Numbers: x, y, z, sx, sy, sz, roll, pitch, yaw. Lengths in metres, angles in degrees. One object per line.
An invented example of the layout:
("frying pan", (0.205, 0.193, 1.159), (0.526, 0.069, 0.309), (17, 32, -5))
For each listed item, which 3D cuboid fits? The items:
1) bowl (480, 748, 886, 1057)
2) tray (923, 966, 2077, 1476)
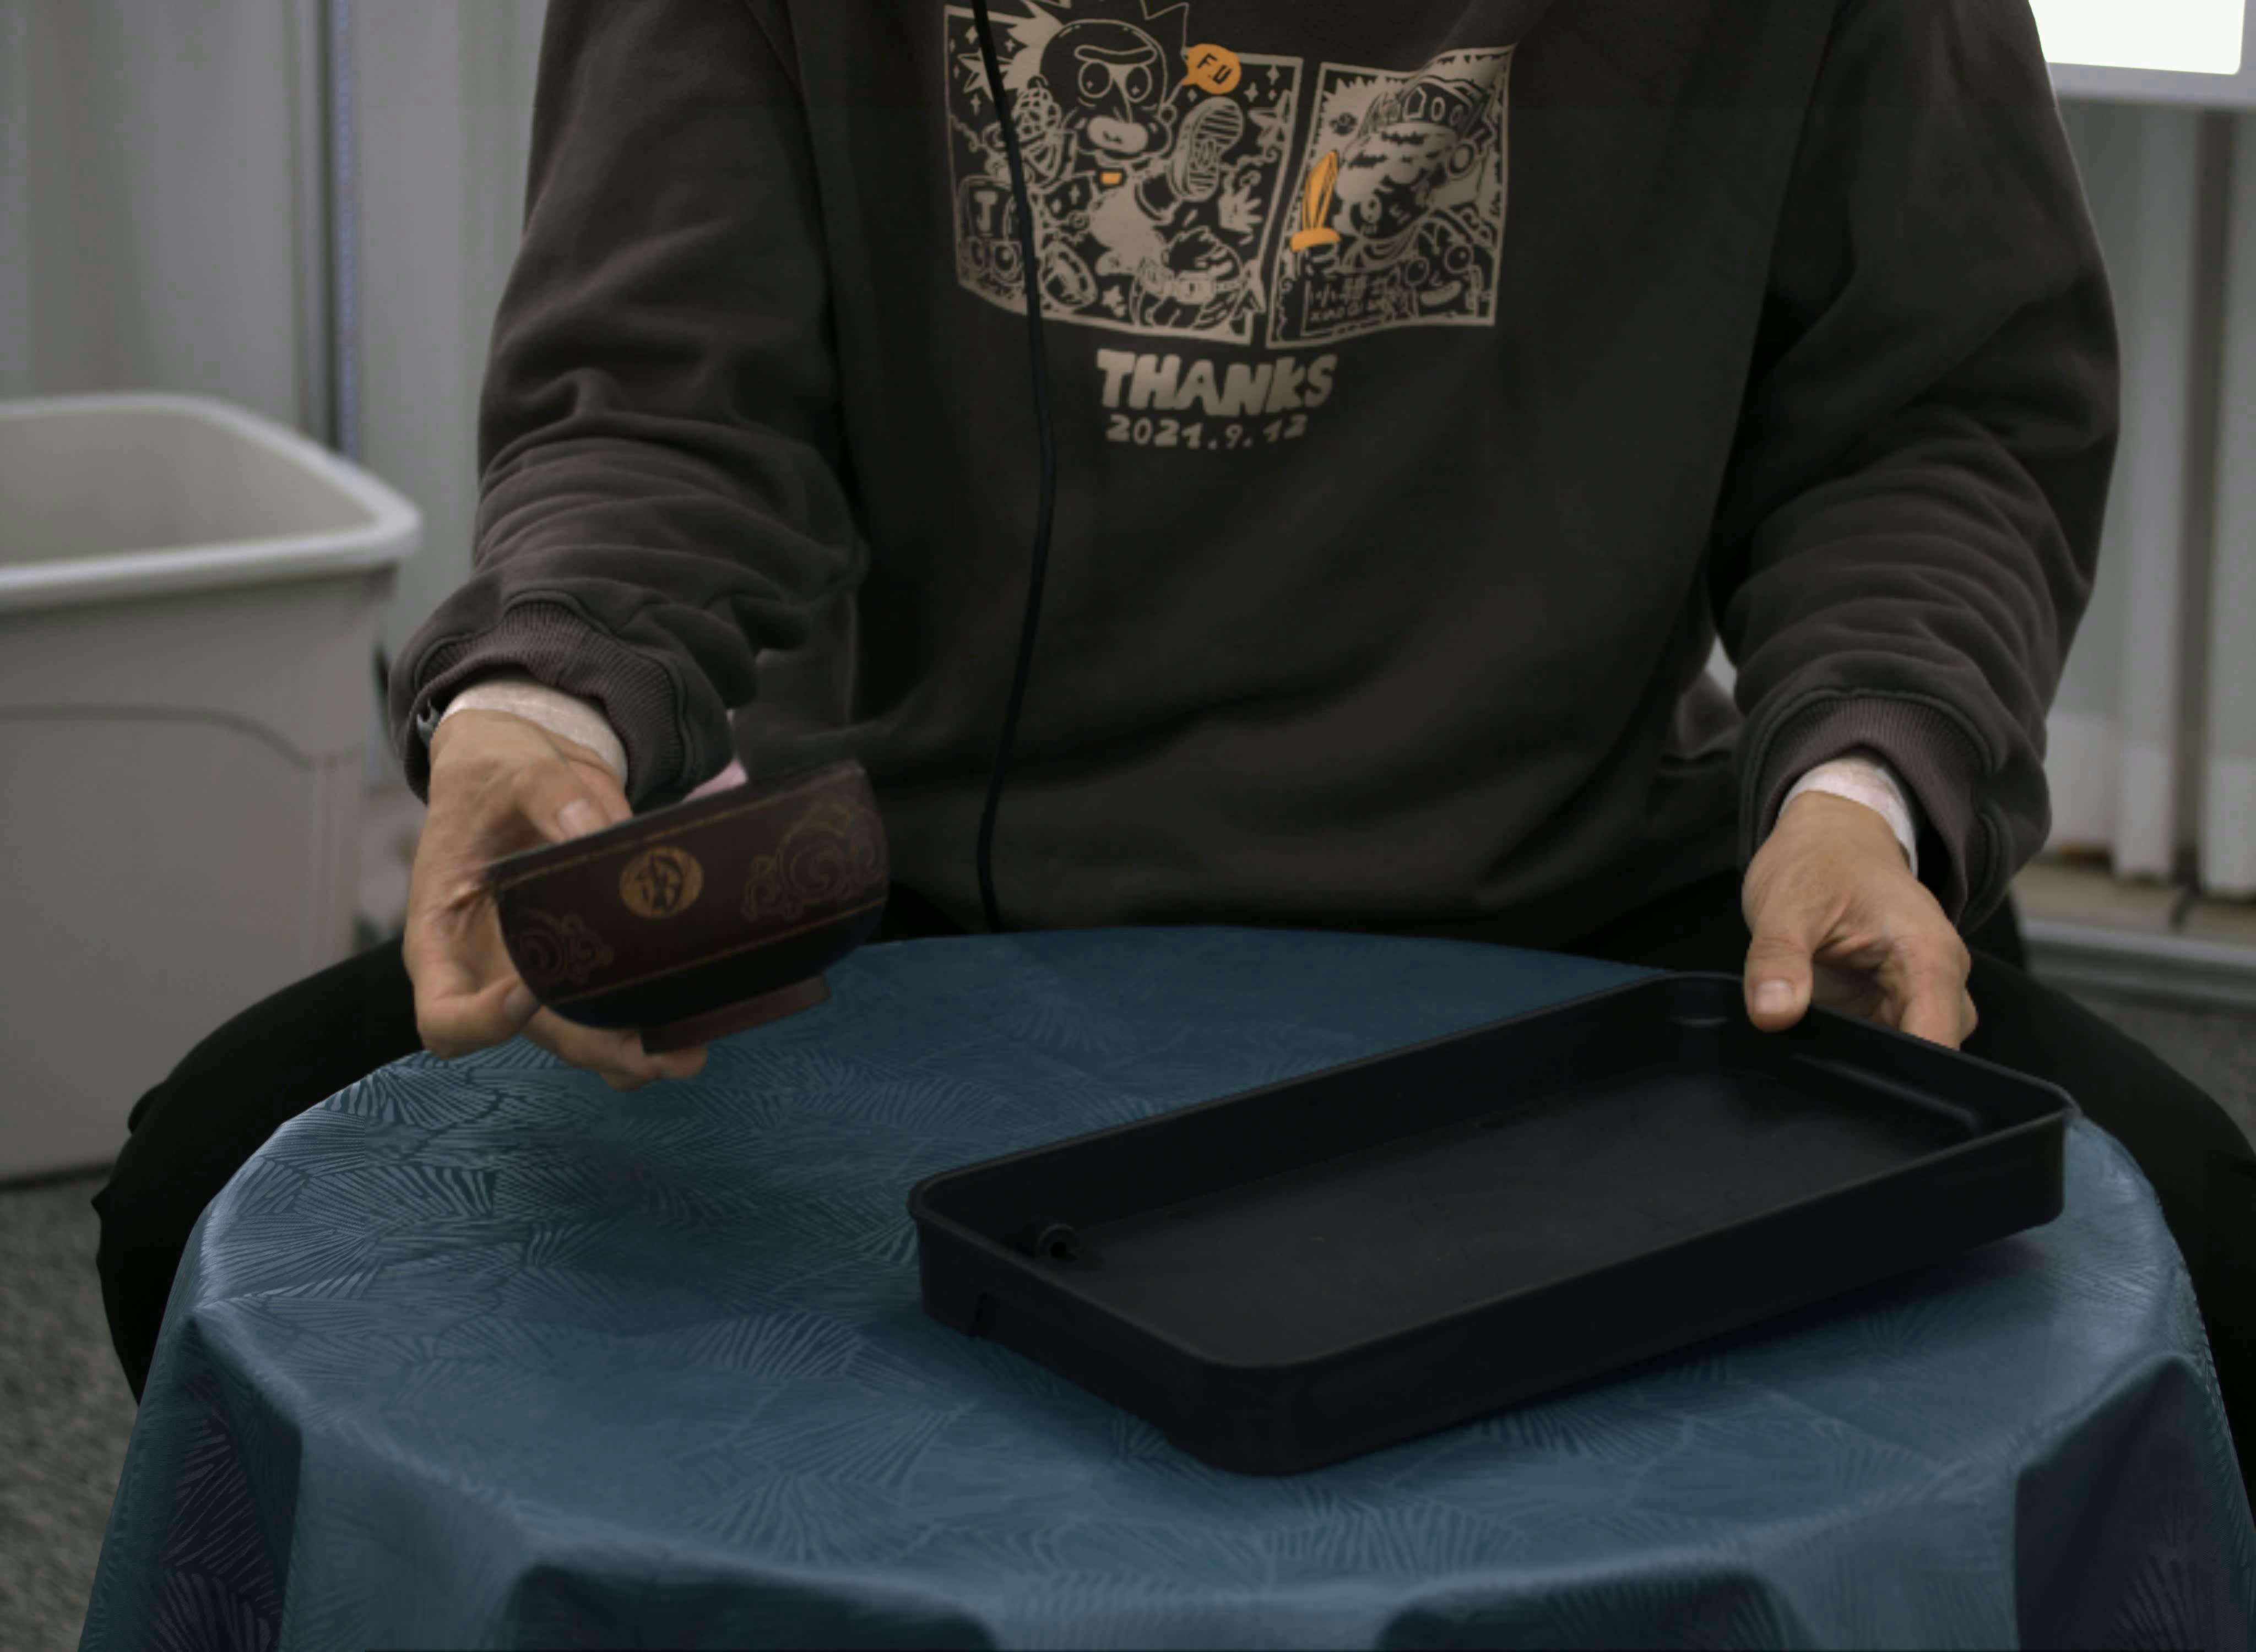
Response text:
("bowl", (-0.126, 0.027, 1.553), (0.117, 0.070, 0.118), (-18, 1, 1))
("tray", (0.113, 0.110, 1.553), (0.319, 0.037, 0.182), (-15, 20, -35))
